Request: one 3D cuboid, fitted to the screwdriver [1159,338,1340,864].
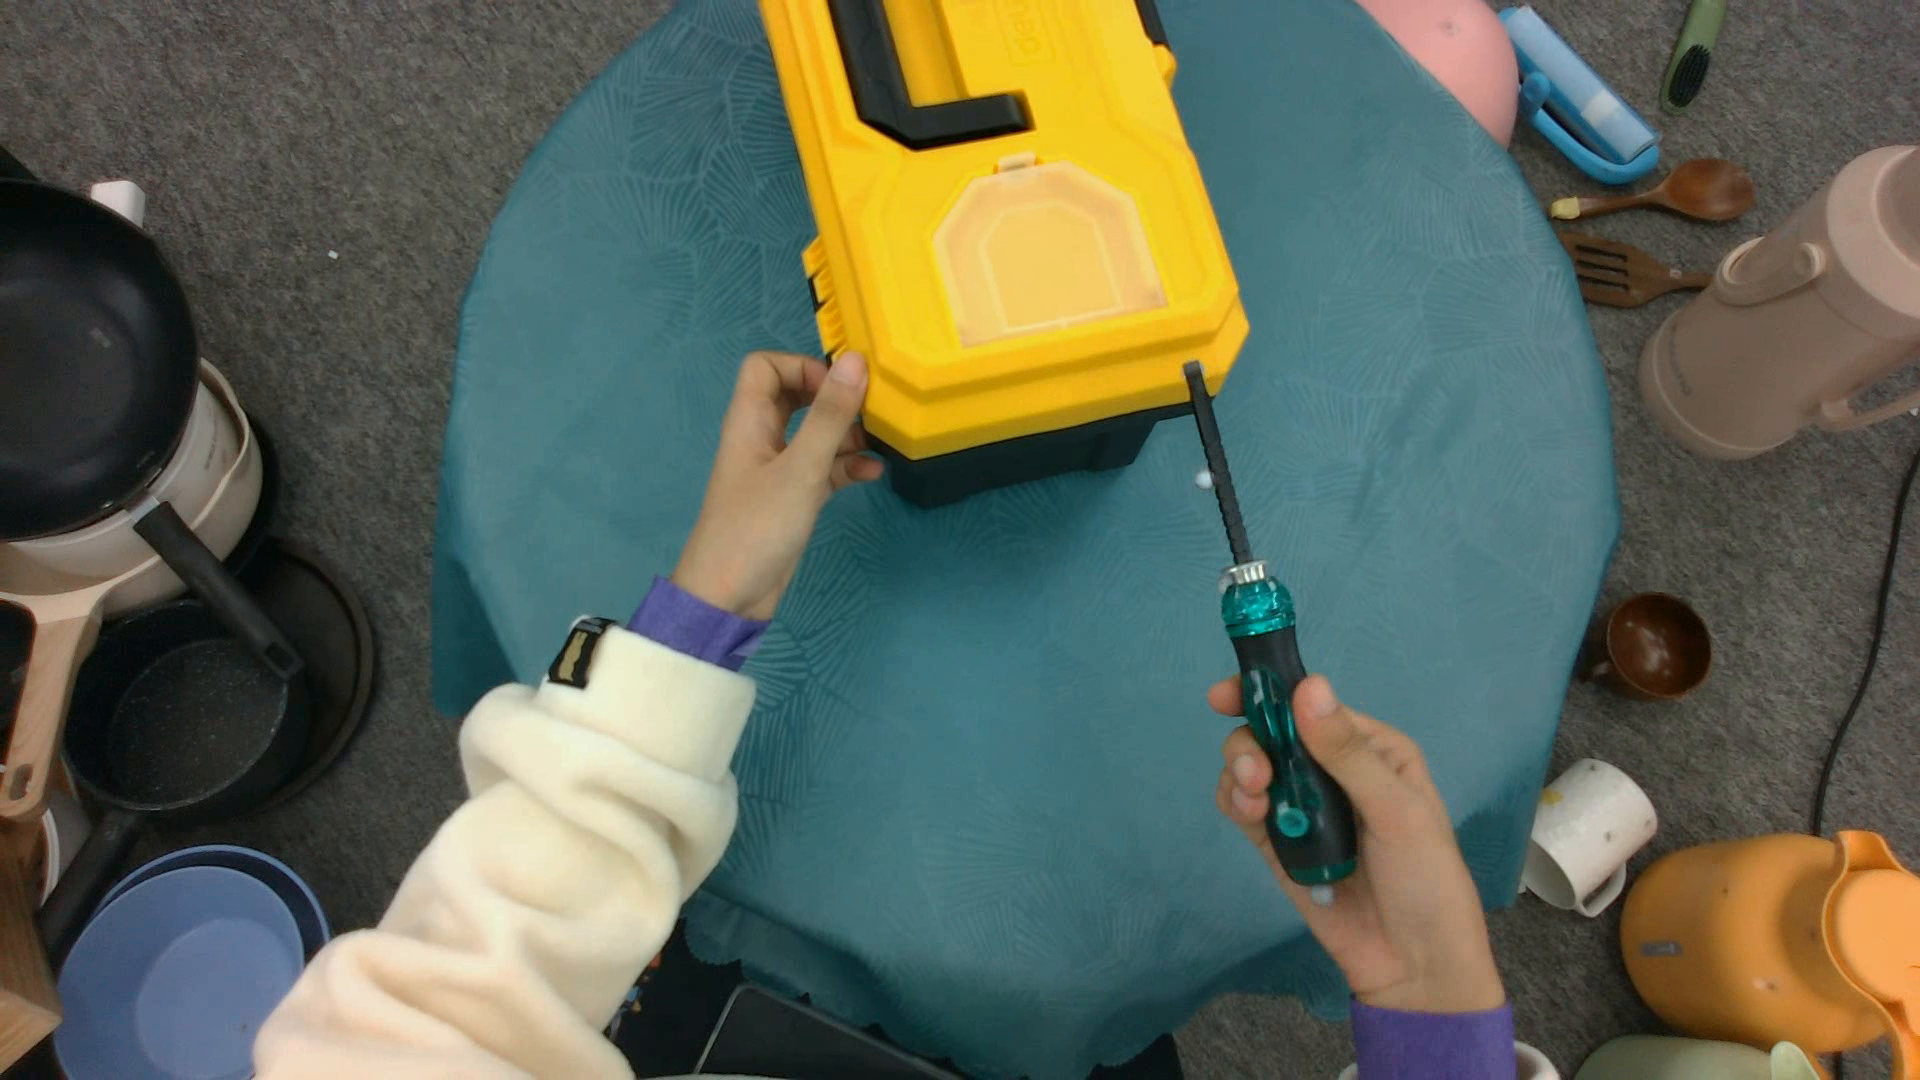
[{"bbox_3d":[0.097,0.020,0.484,0.034,0.033,0.190,-15,88,-9],"label":"screwdriver"}]

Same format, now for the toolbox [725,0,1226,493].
[{"bbox_3d":[-0.013,-0.206,0.657,0.181,0.172,0.352,-13,73,-8],"label":"toolbox"}]
